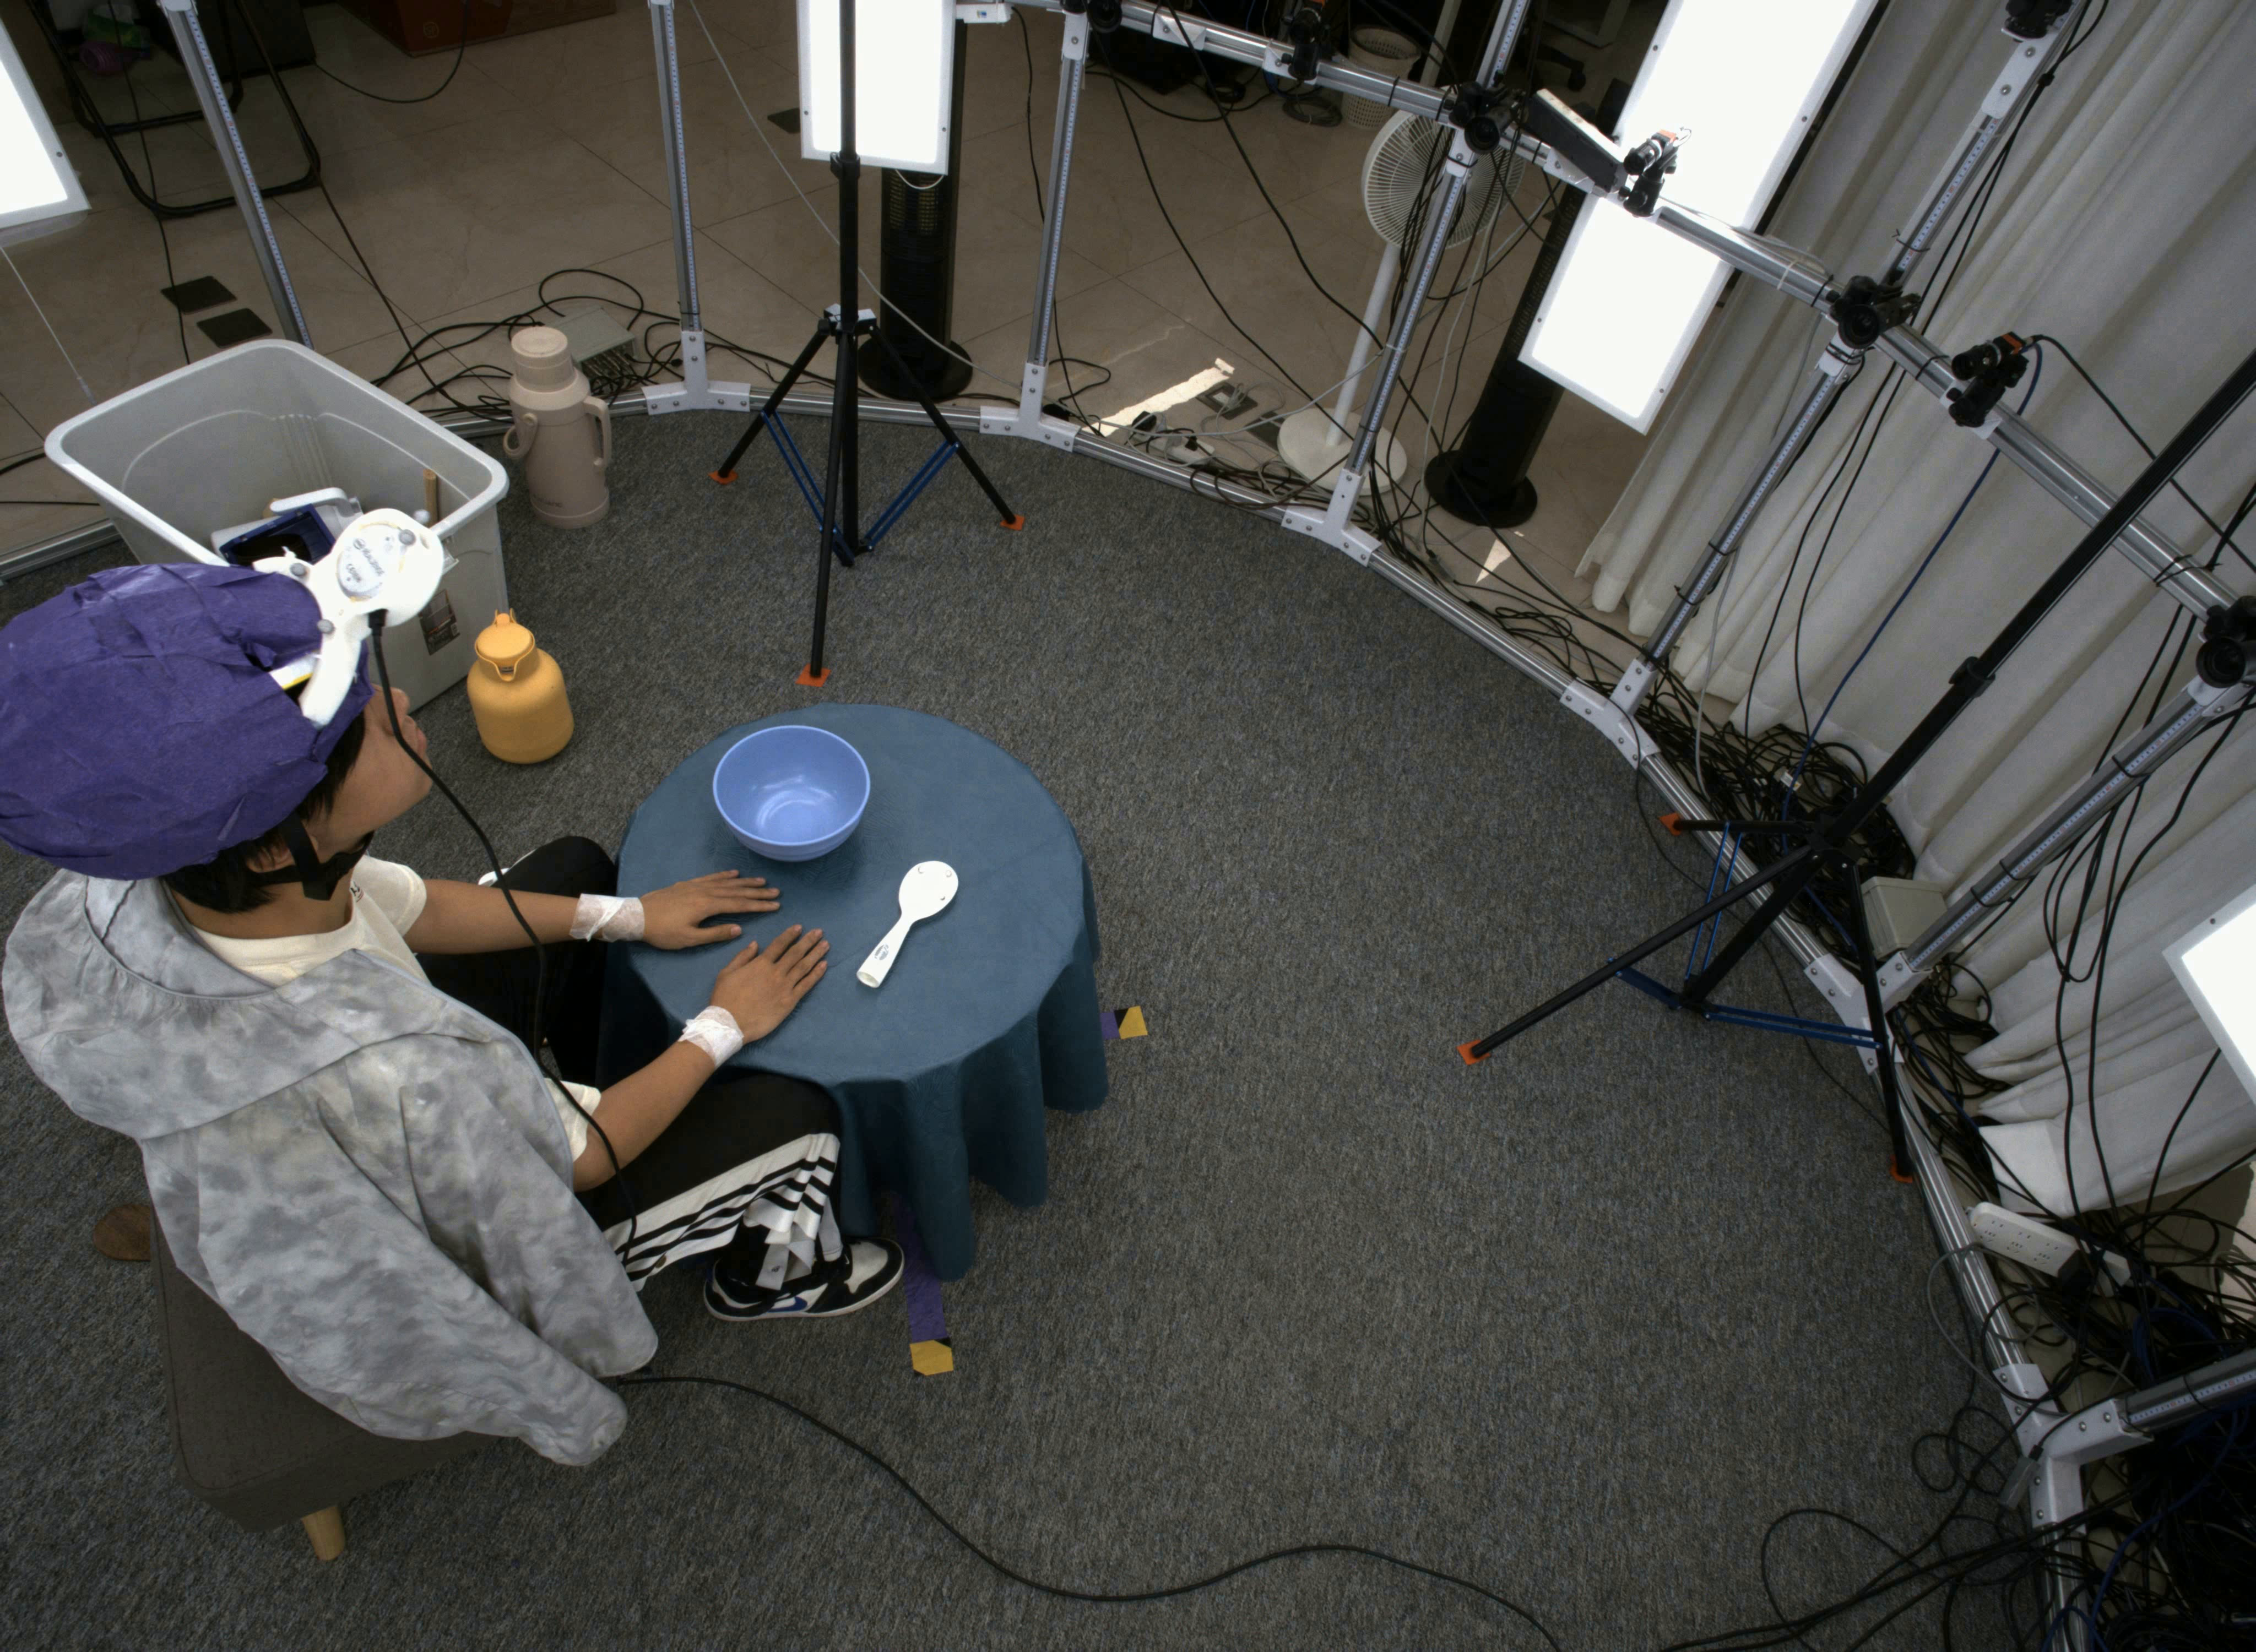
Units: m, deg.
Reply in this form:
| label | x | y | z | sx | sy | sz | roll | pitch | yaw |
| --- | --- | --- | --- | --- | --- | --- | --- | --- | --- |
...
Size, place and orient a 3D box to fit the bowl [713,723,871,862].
| label | x | y | z | sx | sy | sz | roll | pitch | yaw |
| --- | --- | --- | --- | --- | --- | --- | --- | --- | --- |
| bowl | -0.434 | -0.028 | 1.682 | 0.196 | 0.097 | 0.193 | 9 | 52 | -9 |

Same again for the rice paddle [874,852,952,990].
| label | x | y | z | sx | sy | sz | roll | pitch | yaw |
| --- | --- | --- | --- | --- | --- | --- | --- | --- | --- |
| rice paddle | -0.278 | 0.112 | 1.666 | 0.067 | 0.030 | 0.203 | 9 | 55 | 10 |
